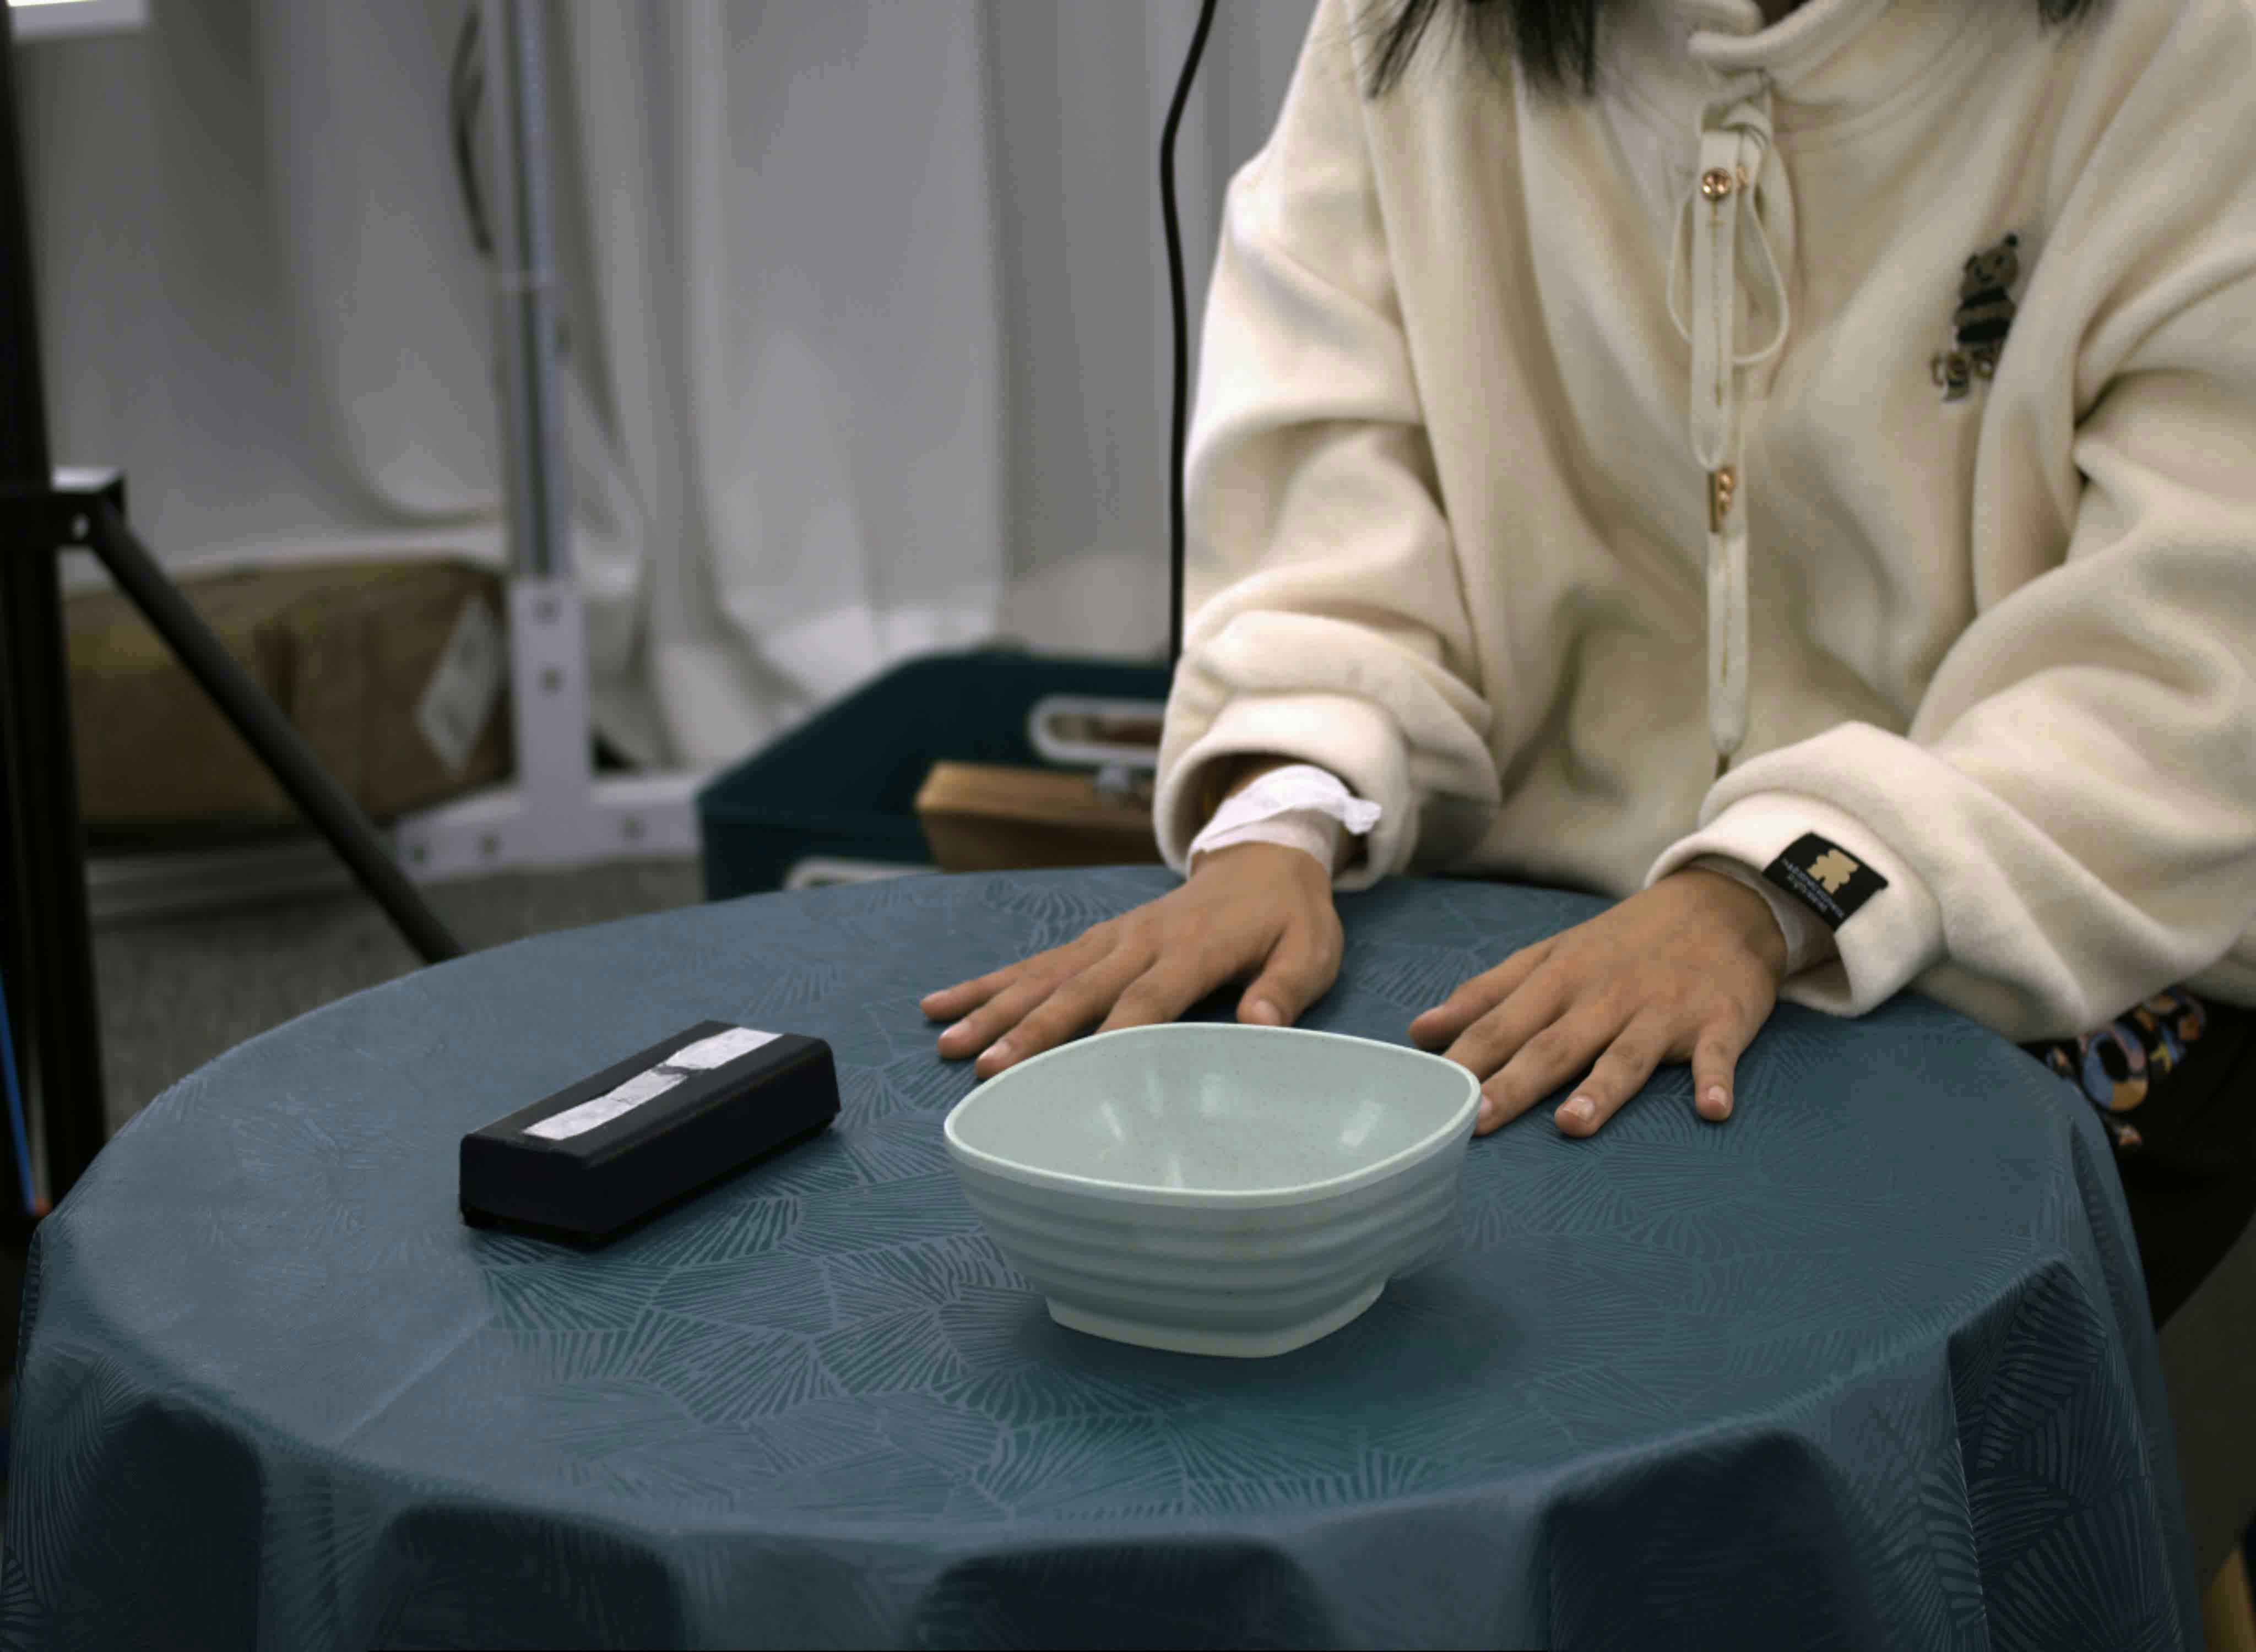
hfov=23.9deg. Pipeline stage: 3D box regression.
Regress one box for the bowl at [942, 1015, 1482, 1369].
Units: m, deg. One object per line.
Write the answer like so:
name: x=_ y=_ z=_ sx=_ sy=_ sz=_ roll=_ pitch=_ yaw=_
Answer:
bowl: x=0.024 y=0.104 z=1.464 sx=0.150 sy=0.058 sz=0.152 roll=-1 pitch=17 yaw=-1

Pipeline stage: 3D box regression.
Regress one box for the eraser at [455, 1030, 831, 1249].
eraser: x=-0.143 y=0.092 z=1.588 sx=0.054 sy=0.030 sz=0.123 roll=9 pitch=17 yaw=29
